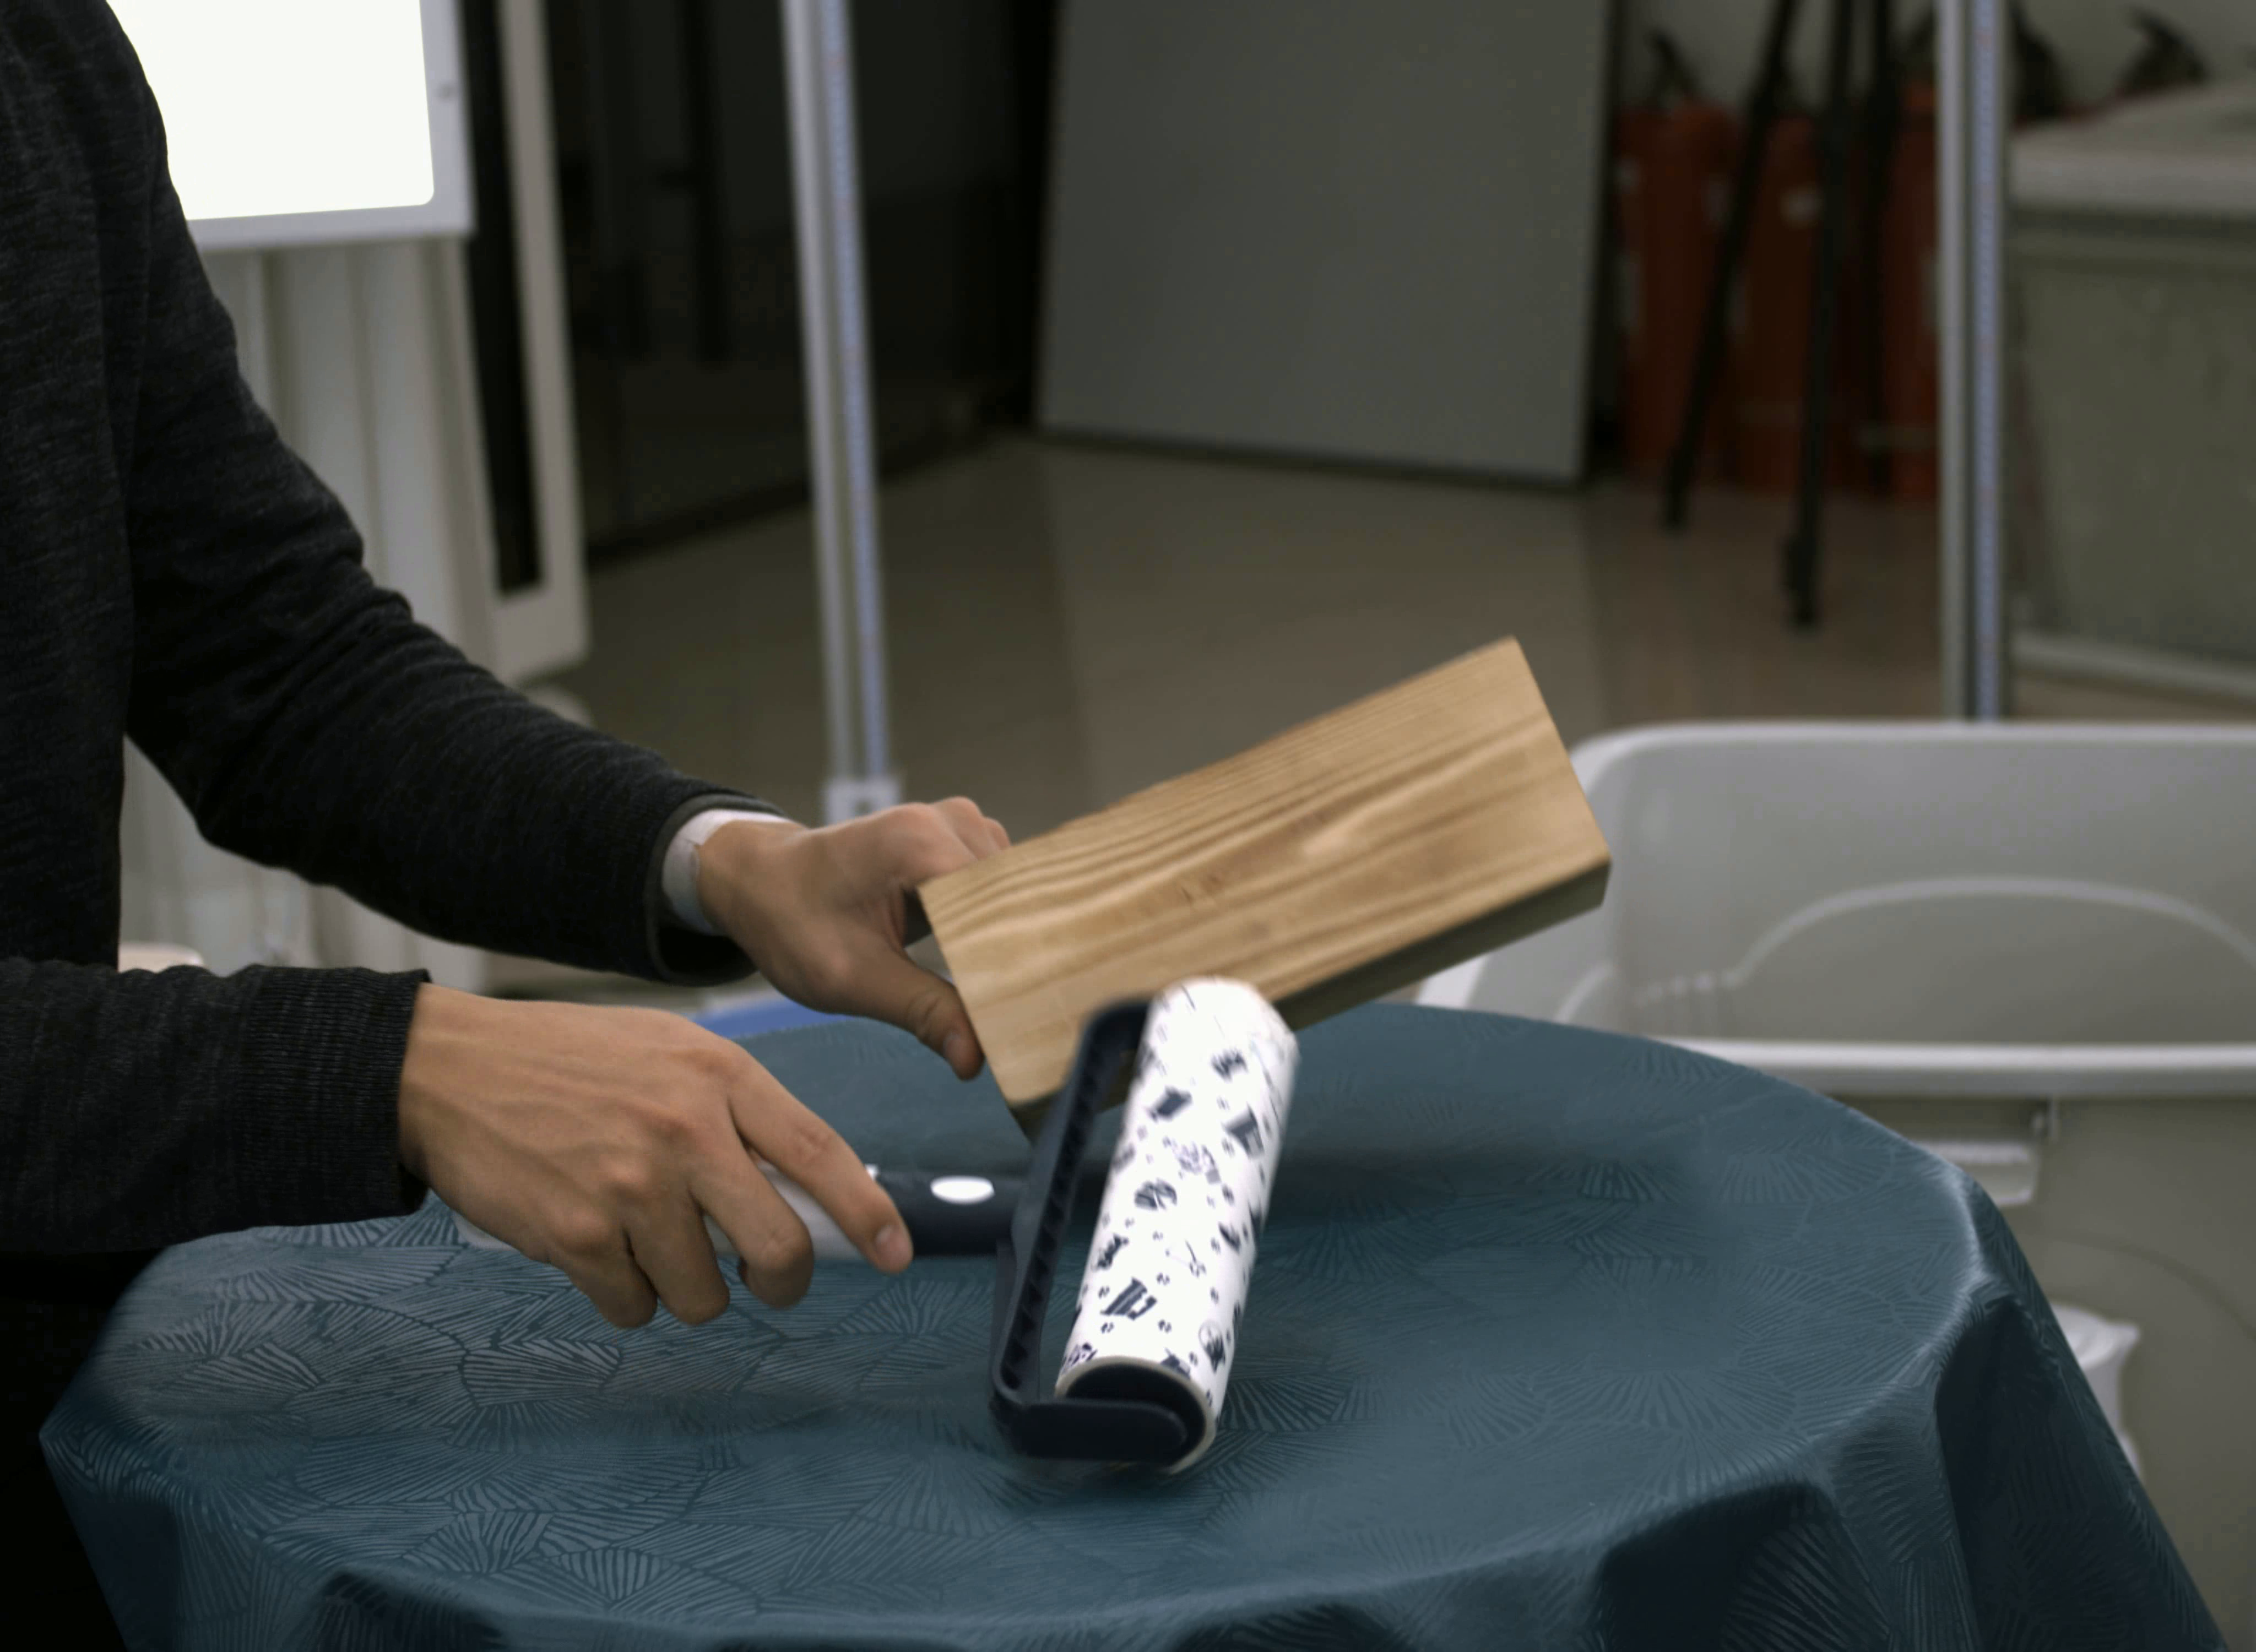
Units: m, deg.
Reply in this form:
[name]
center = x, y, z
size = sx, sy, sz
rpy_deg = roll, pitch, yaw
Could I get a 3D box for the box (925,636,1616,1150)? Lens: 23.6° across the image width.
[box]
center = 0.047, 0.024, 1.766
size = 0.209, 0.081, 0.107
rpy_deg = -23, -10, -1

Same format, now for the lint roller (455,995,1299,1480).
[lint roller]
center = -0.082, 0.115, 1.584
size = 0.246, 0.050, 0.176
rpy_deg = 1, 38, 13
